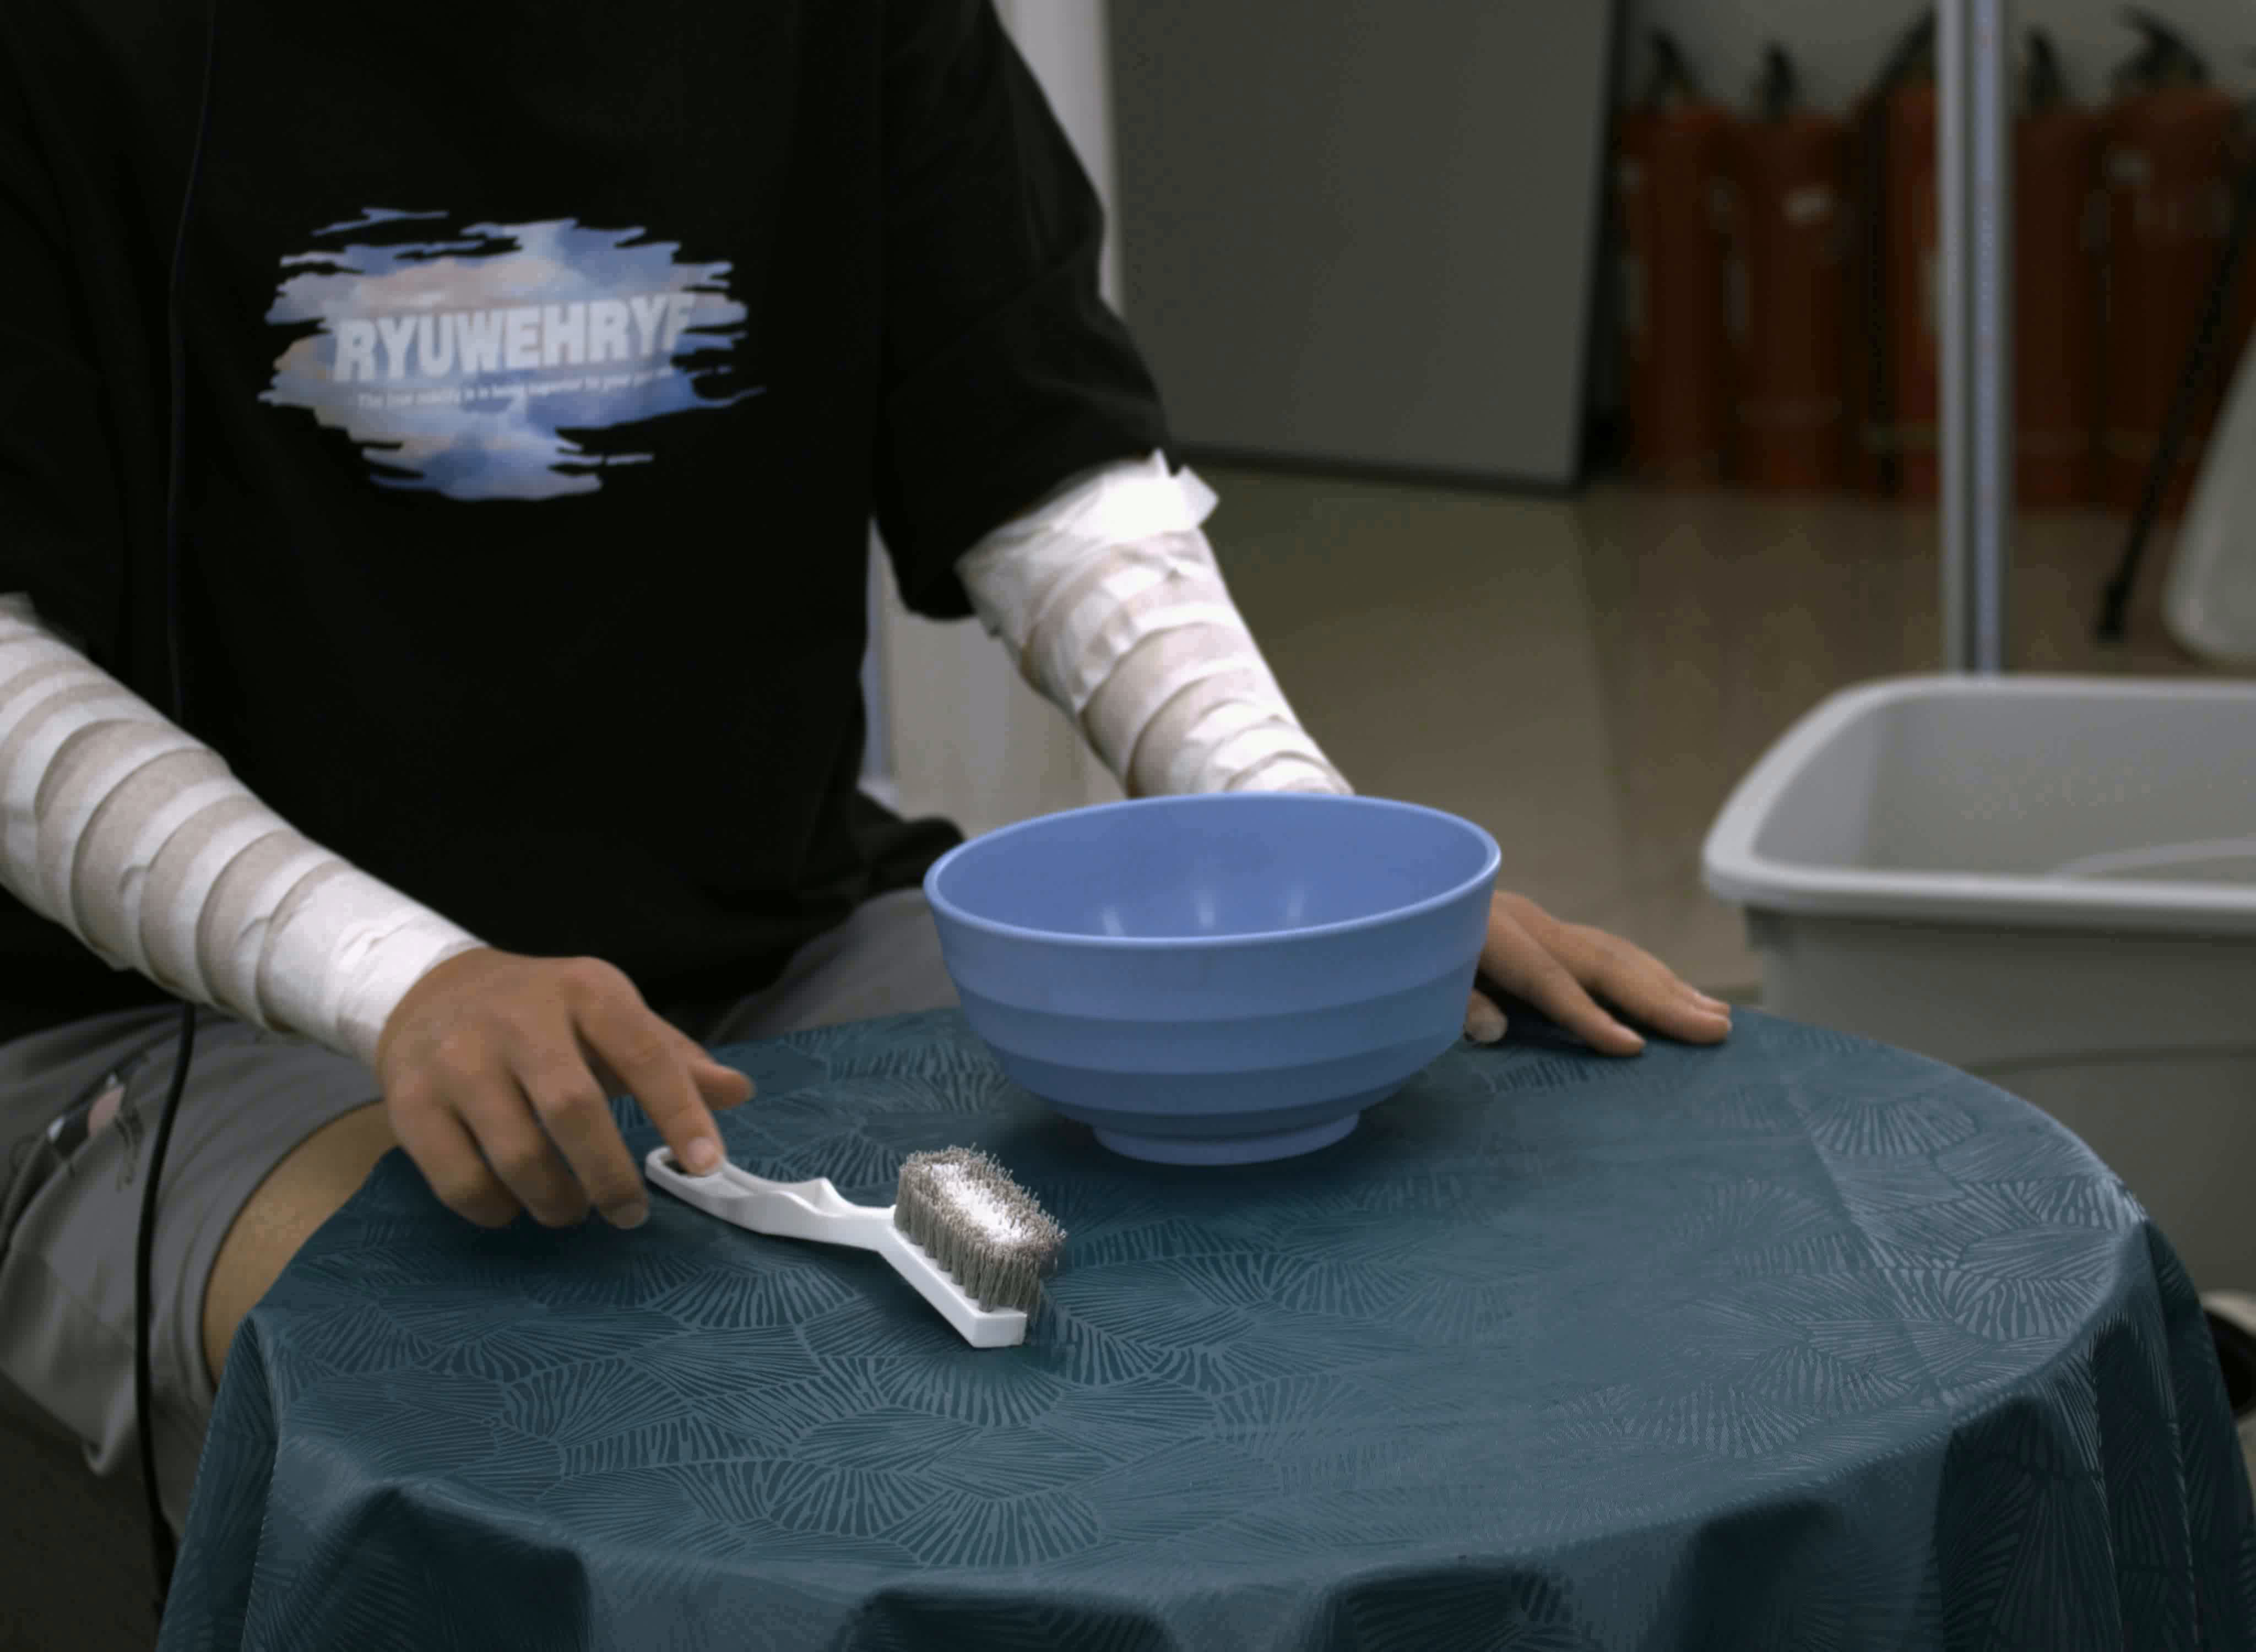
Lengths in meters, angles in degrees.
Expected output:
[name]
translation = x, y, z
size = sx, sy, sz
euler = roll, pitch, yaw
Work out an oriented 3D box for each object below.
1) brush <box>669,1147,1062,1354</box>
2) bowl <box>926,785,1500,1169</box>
[brush]
translation = -0.090, 0.115, 1.721
size = 0.033, 0.051, 0.246
euler = -13, 16, -27
[bowl]
translation = 0.031, 0.056, 1.825
size = 0.194, 0.096, 0.197
euler = -4, 15, 0
